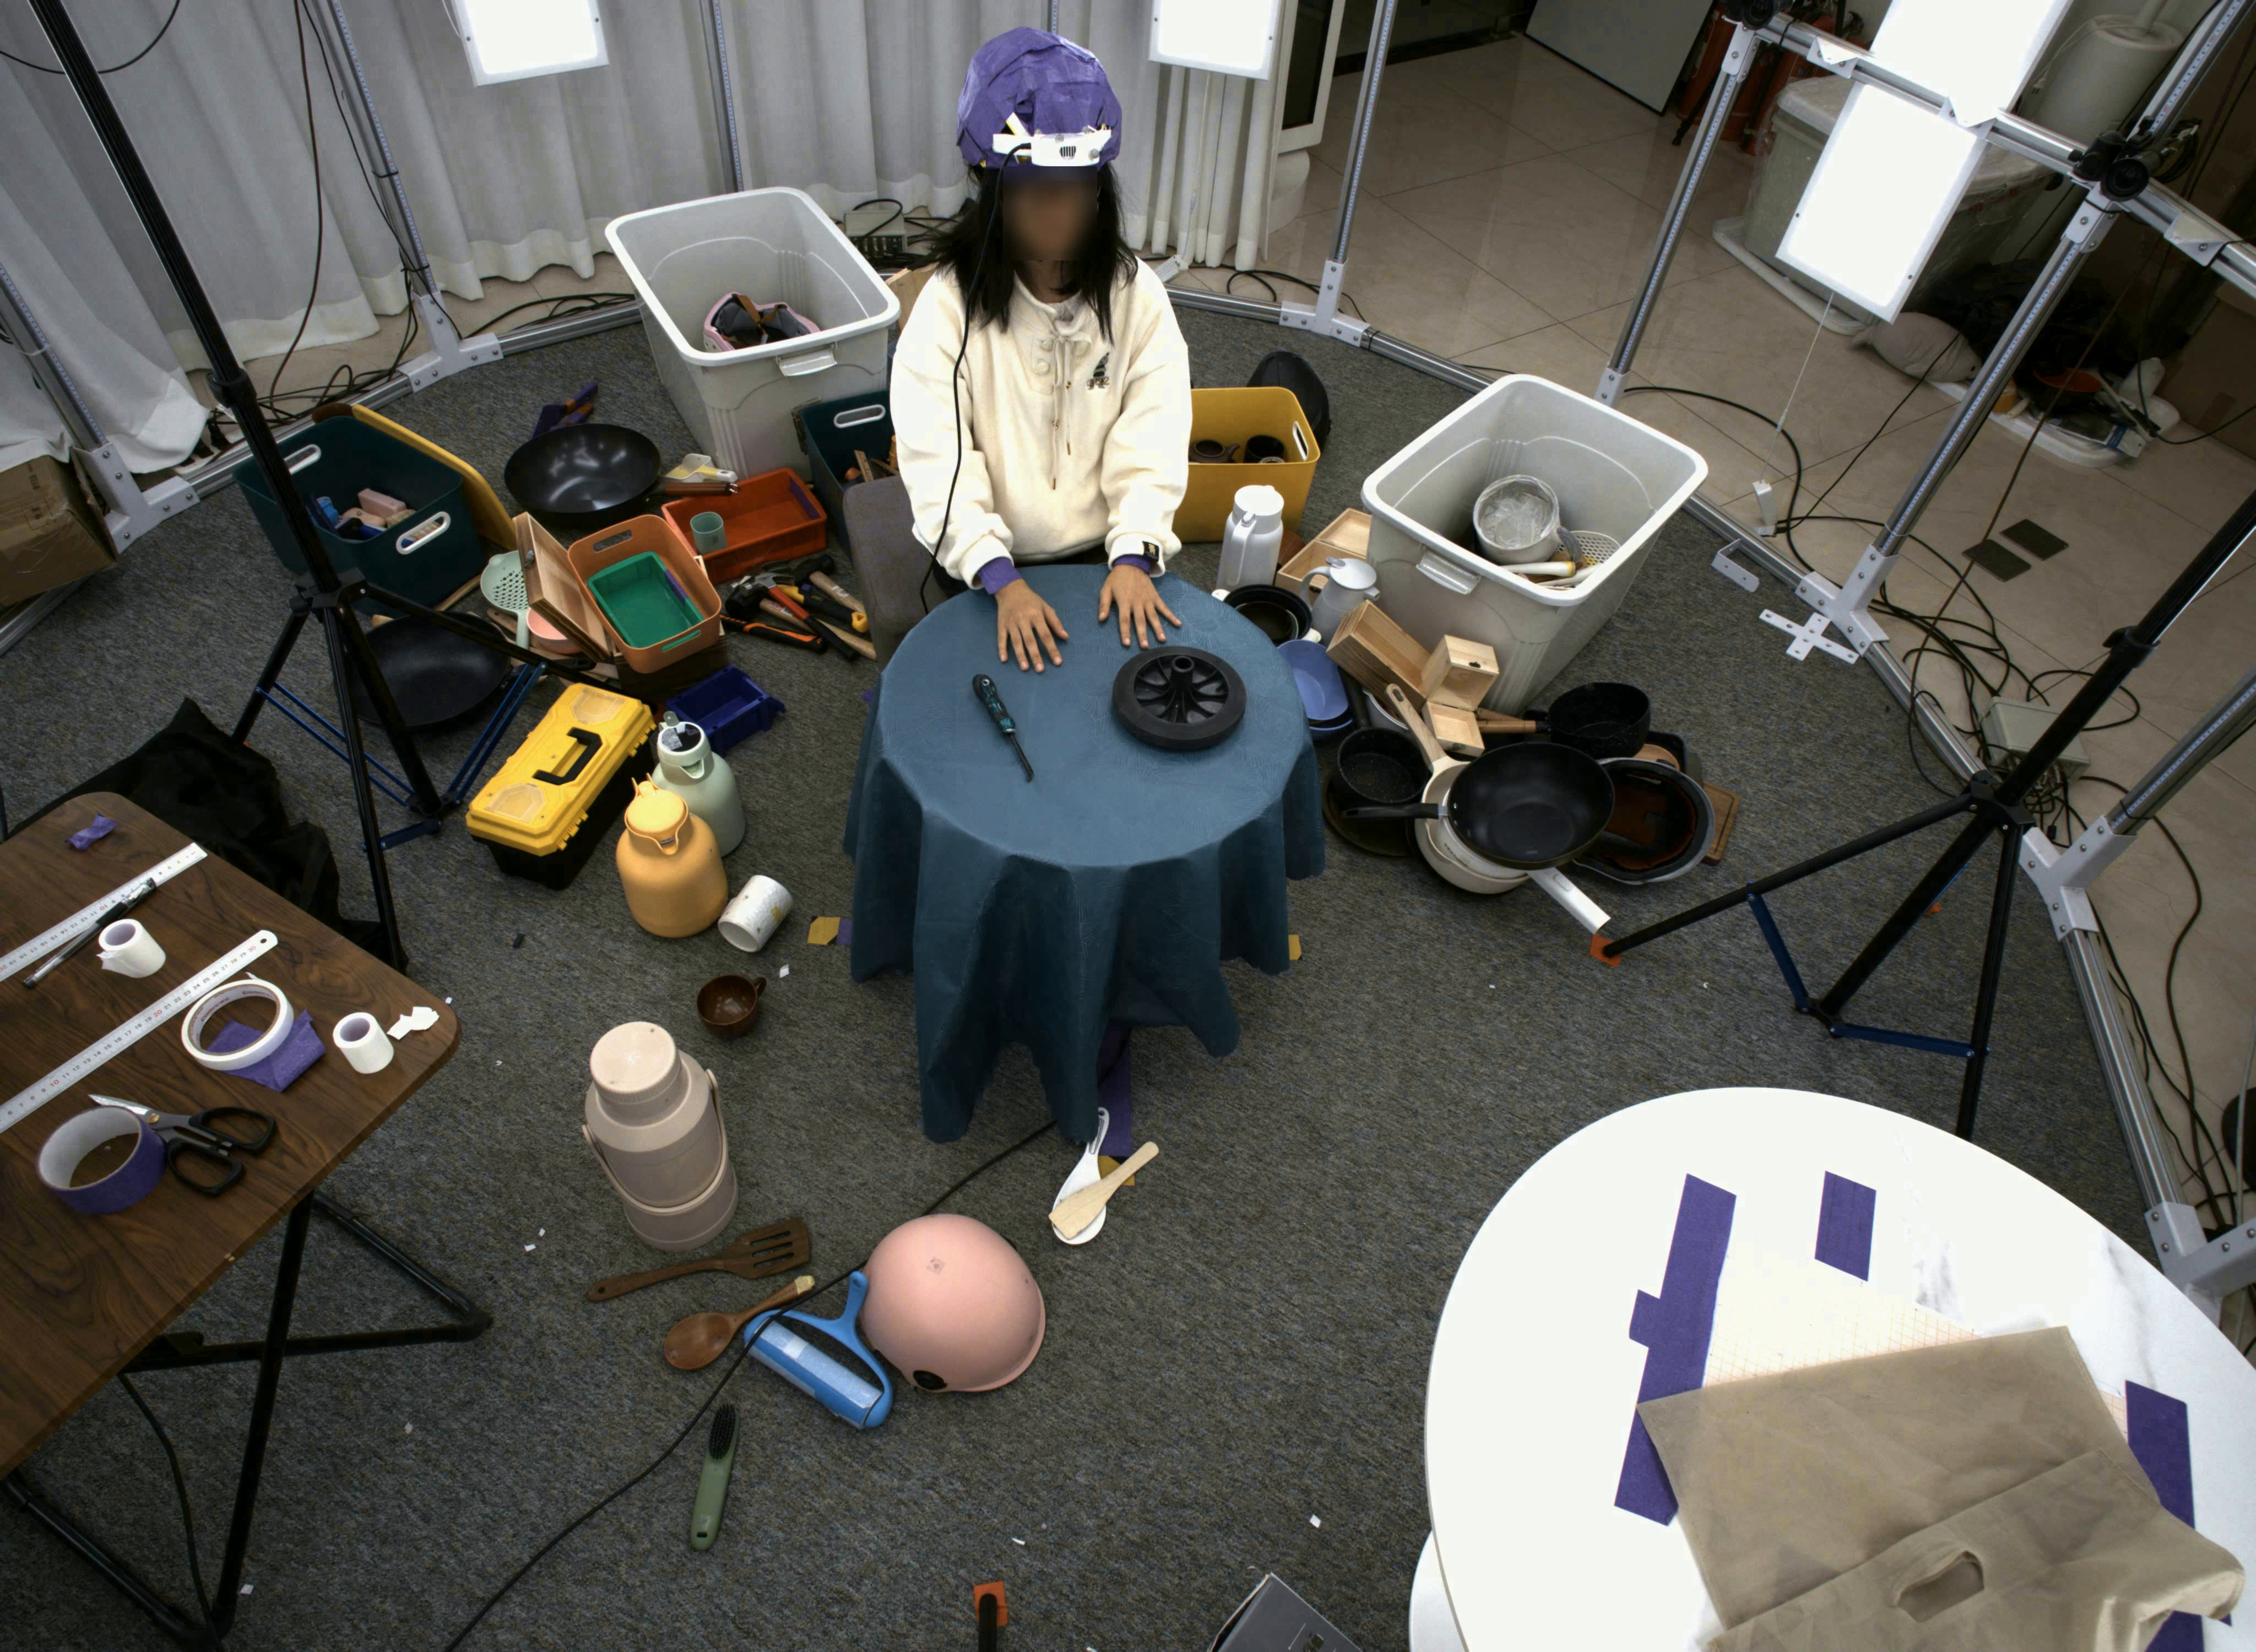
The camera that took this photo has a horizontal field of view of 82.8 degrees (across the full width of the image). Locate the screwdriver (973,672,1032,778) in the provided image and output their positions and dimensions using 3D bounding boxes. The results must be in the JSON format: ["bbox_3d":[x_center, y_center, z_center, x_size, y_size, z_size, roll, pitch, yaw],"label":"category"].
[{"bbox_3d":[-0.170,-0.138,1.765,0.034,0.033,0.194,-17,58,-18],"label":"screwdriver"}]

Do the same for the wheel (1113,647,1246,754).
[{"bbox_3d":[0.074,-0.193,1.794,0.187,0.077,0.194,-6,52,-9],"label":"wheel"}]
